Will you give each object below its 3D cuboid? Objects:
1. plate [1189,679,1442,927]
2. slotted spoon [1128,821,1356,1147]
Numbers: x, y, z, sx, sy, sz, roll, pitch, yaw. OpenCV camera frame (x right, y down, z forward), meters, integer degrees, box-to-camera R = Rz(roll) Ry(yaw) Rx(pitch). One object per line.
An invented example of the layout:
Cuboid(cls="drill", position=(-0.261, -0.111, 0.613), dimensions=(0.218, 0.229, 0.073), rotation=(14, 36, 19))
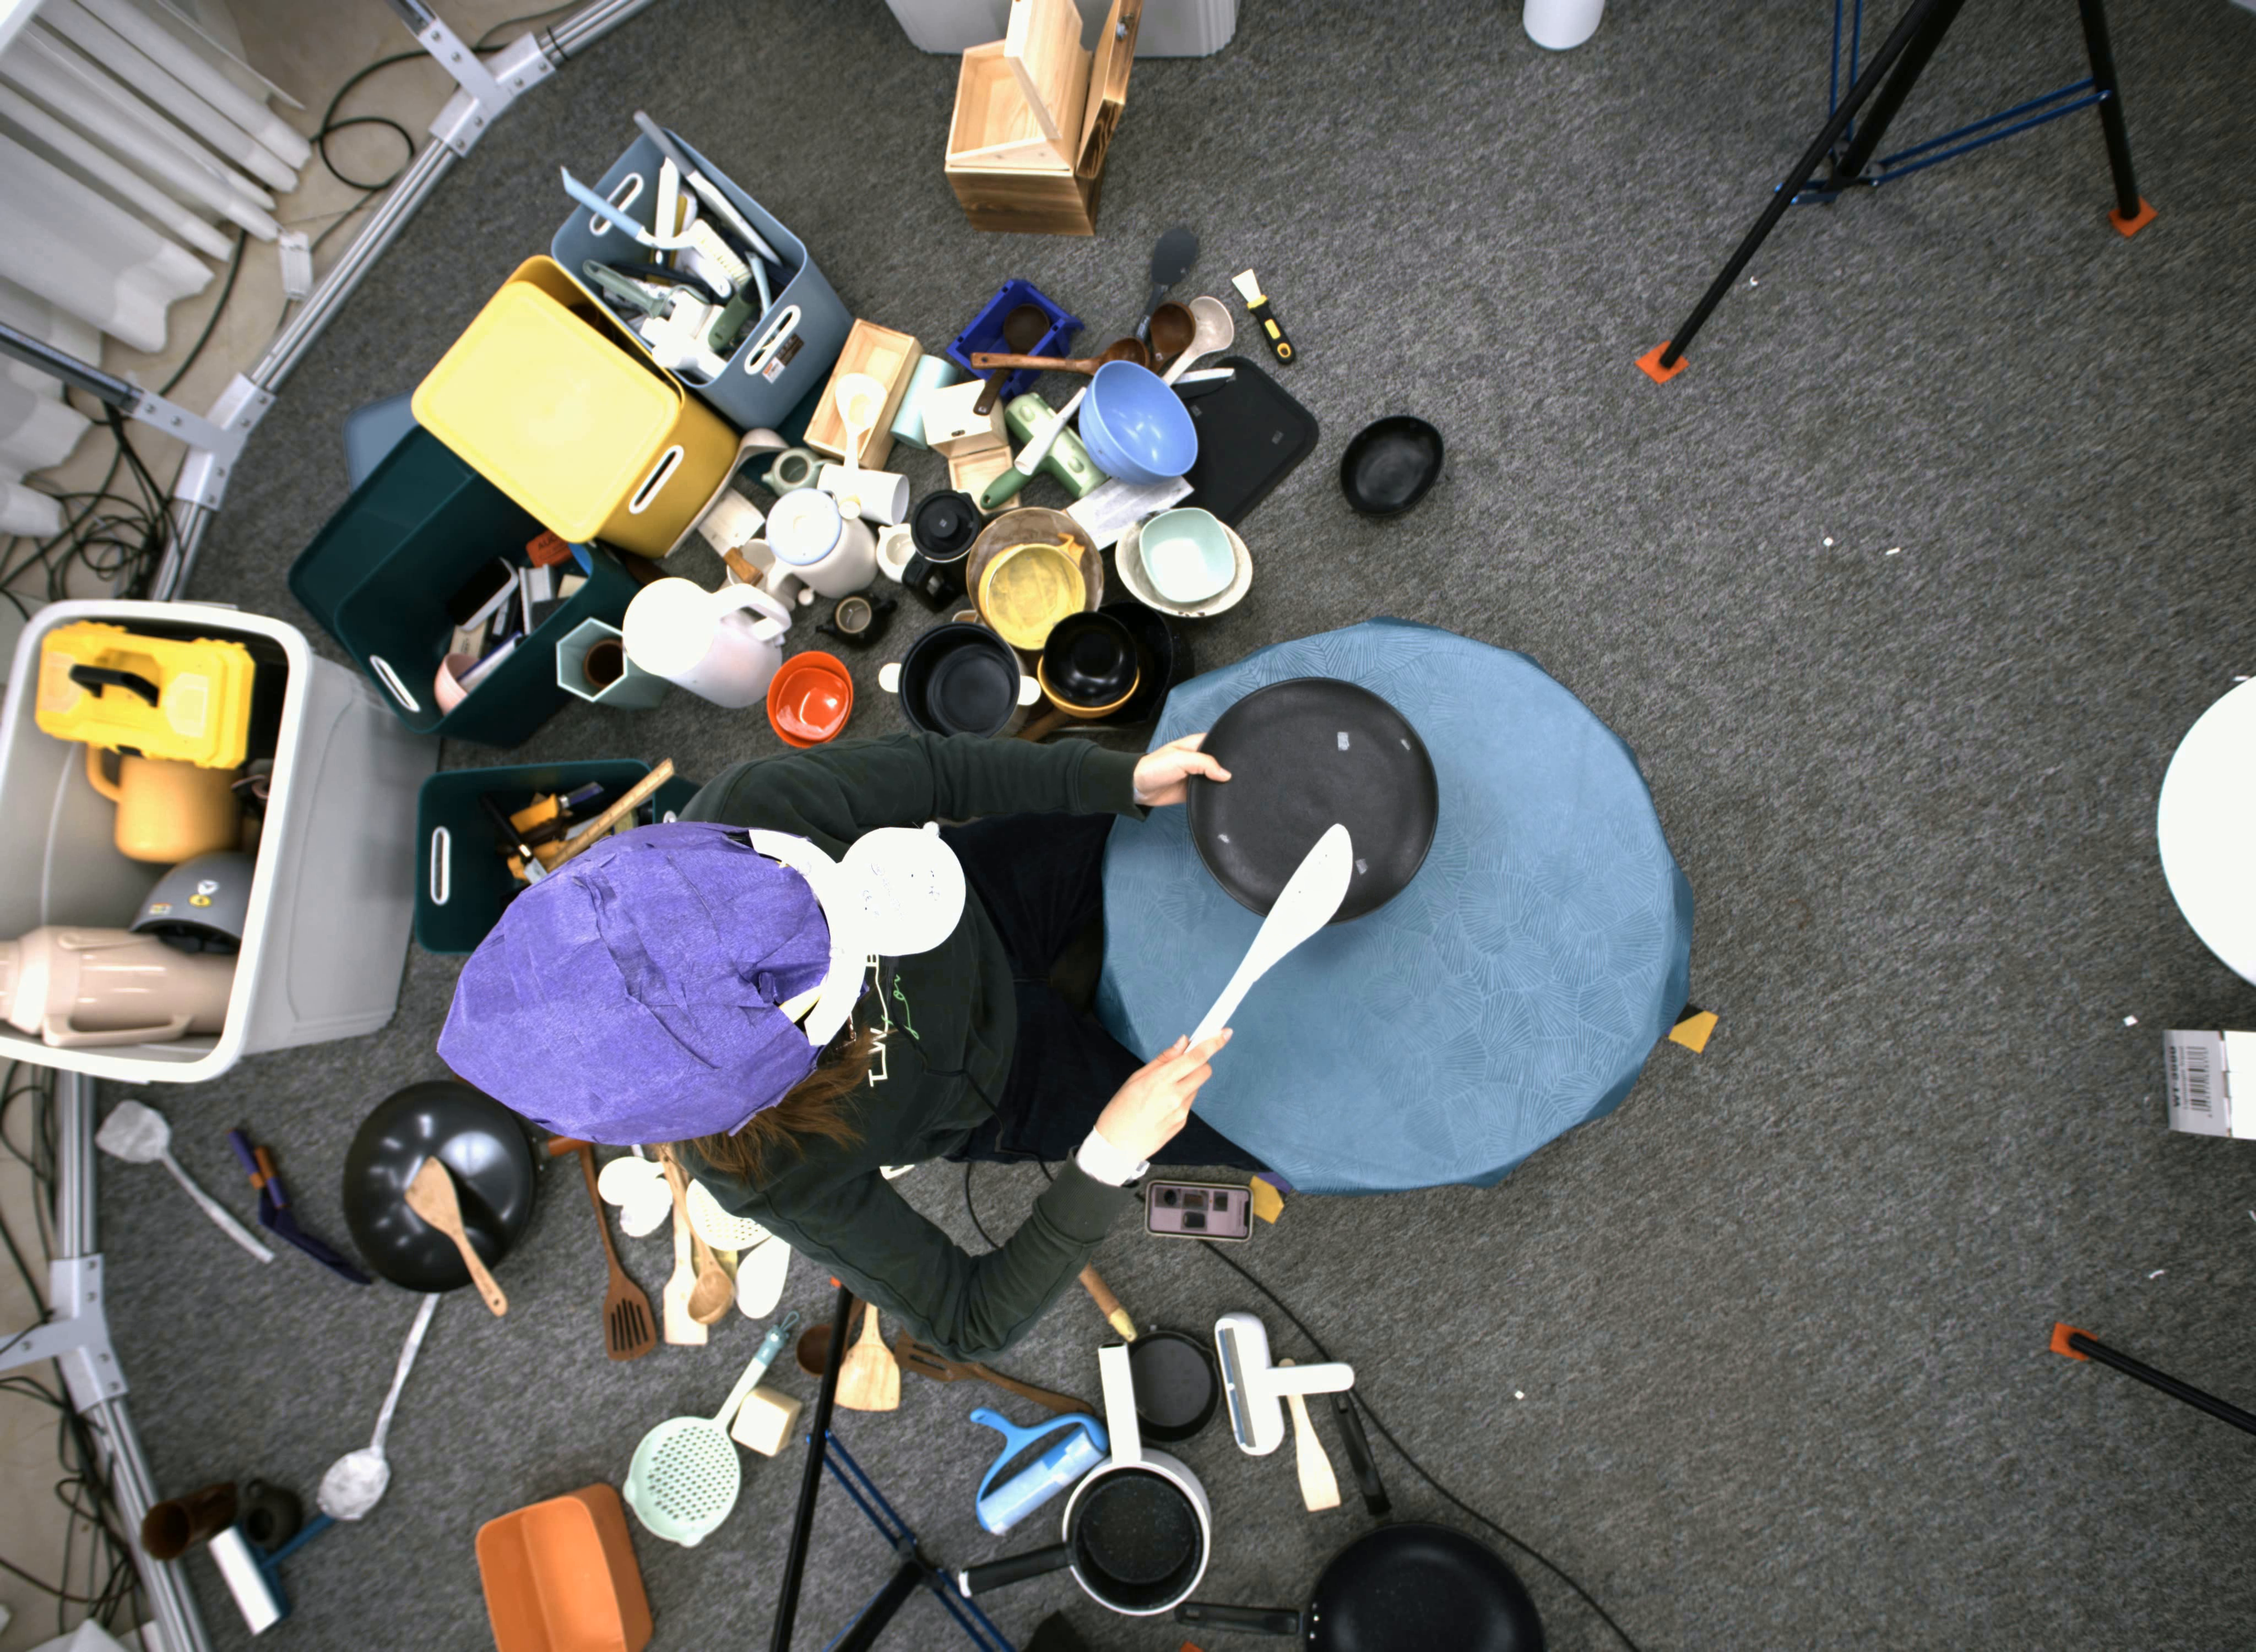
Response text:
Cuboid(cls="plate", position=(0.182, -0.023, 1.348), dimensions=(0.245, 0.023, 0.244), rotation=(0, 89, 6))
Cuboid(cls="slotted spoon", position=(0.101, 0.144, 1.241), dimensions=(0.046, 0.135, 0.352), rotation=(39, 100, 3))
